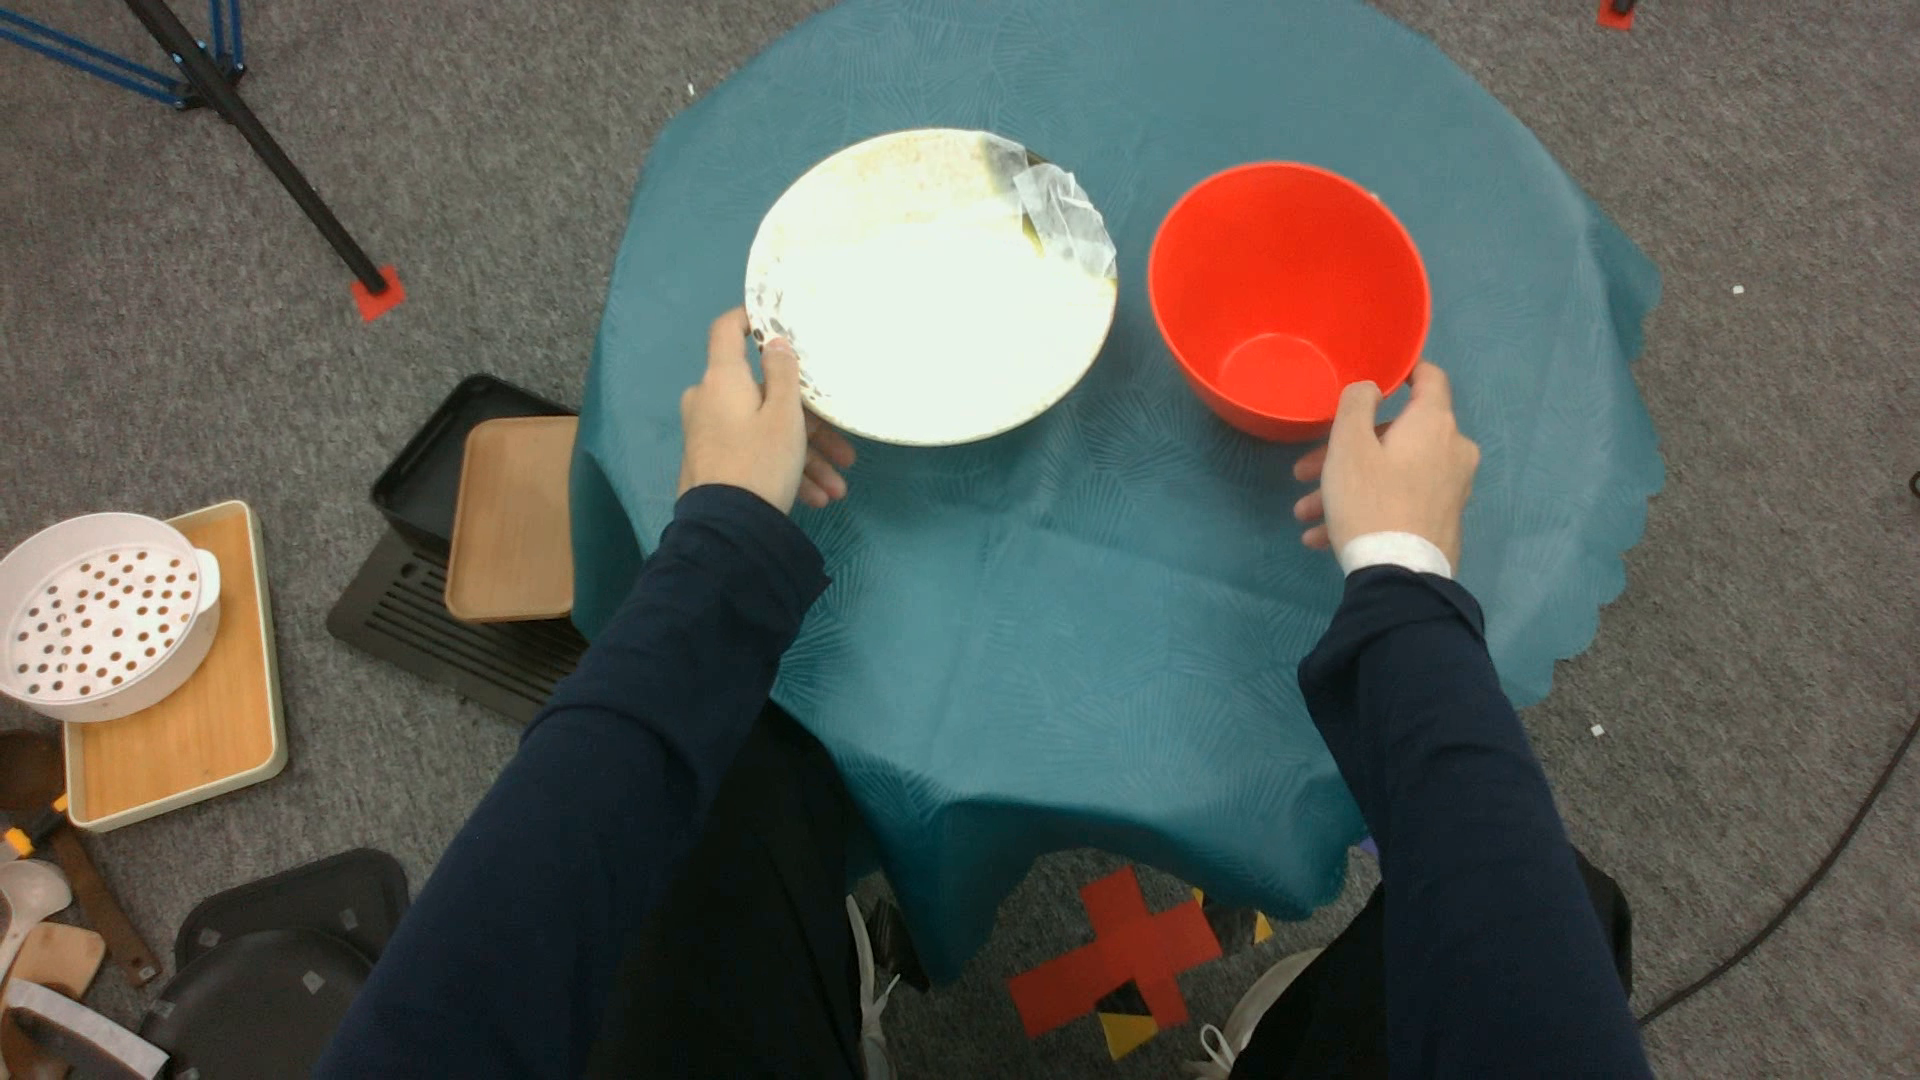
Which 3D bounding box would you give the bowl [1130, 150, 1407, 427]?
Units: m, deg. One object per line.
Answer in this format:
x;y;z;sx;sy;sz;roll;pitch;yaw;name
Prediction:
0.163;-0.124;0.757;0.148;0.104;0.148;0;68;1;bowl

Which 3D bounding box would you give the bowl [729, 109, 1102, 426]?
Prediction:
-0.023;-0.139;0.781;0.204;0.077;0.204;-1;67;3;bowl
